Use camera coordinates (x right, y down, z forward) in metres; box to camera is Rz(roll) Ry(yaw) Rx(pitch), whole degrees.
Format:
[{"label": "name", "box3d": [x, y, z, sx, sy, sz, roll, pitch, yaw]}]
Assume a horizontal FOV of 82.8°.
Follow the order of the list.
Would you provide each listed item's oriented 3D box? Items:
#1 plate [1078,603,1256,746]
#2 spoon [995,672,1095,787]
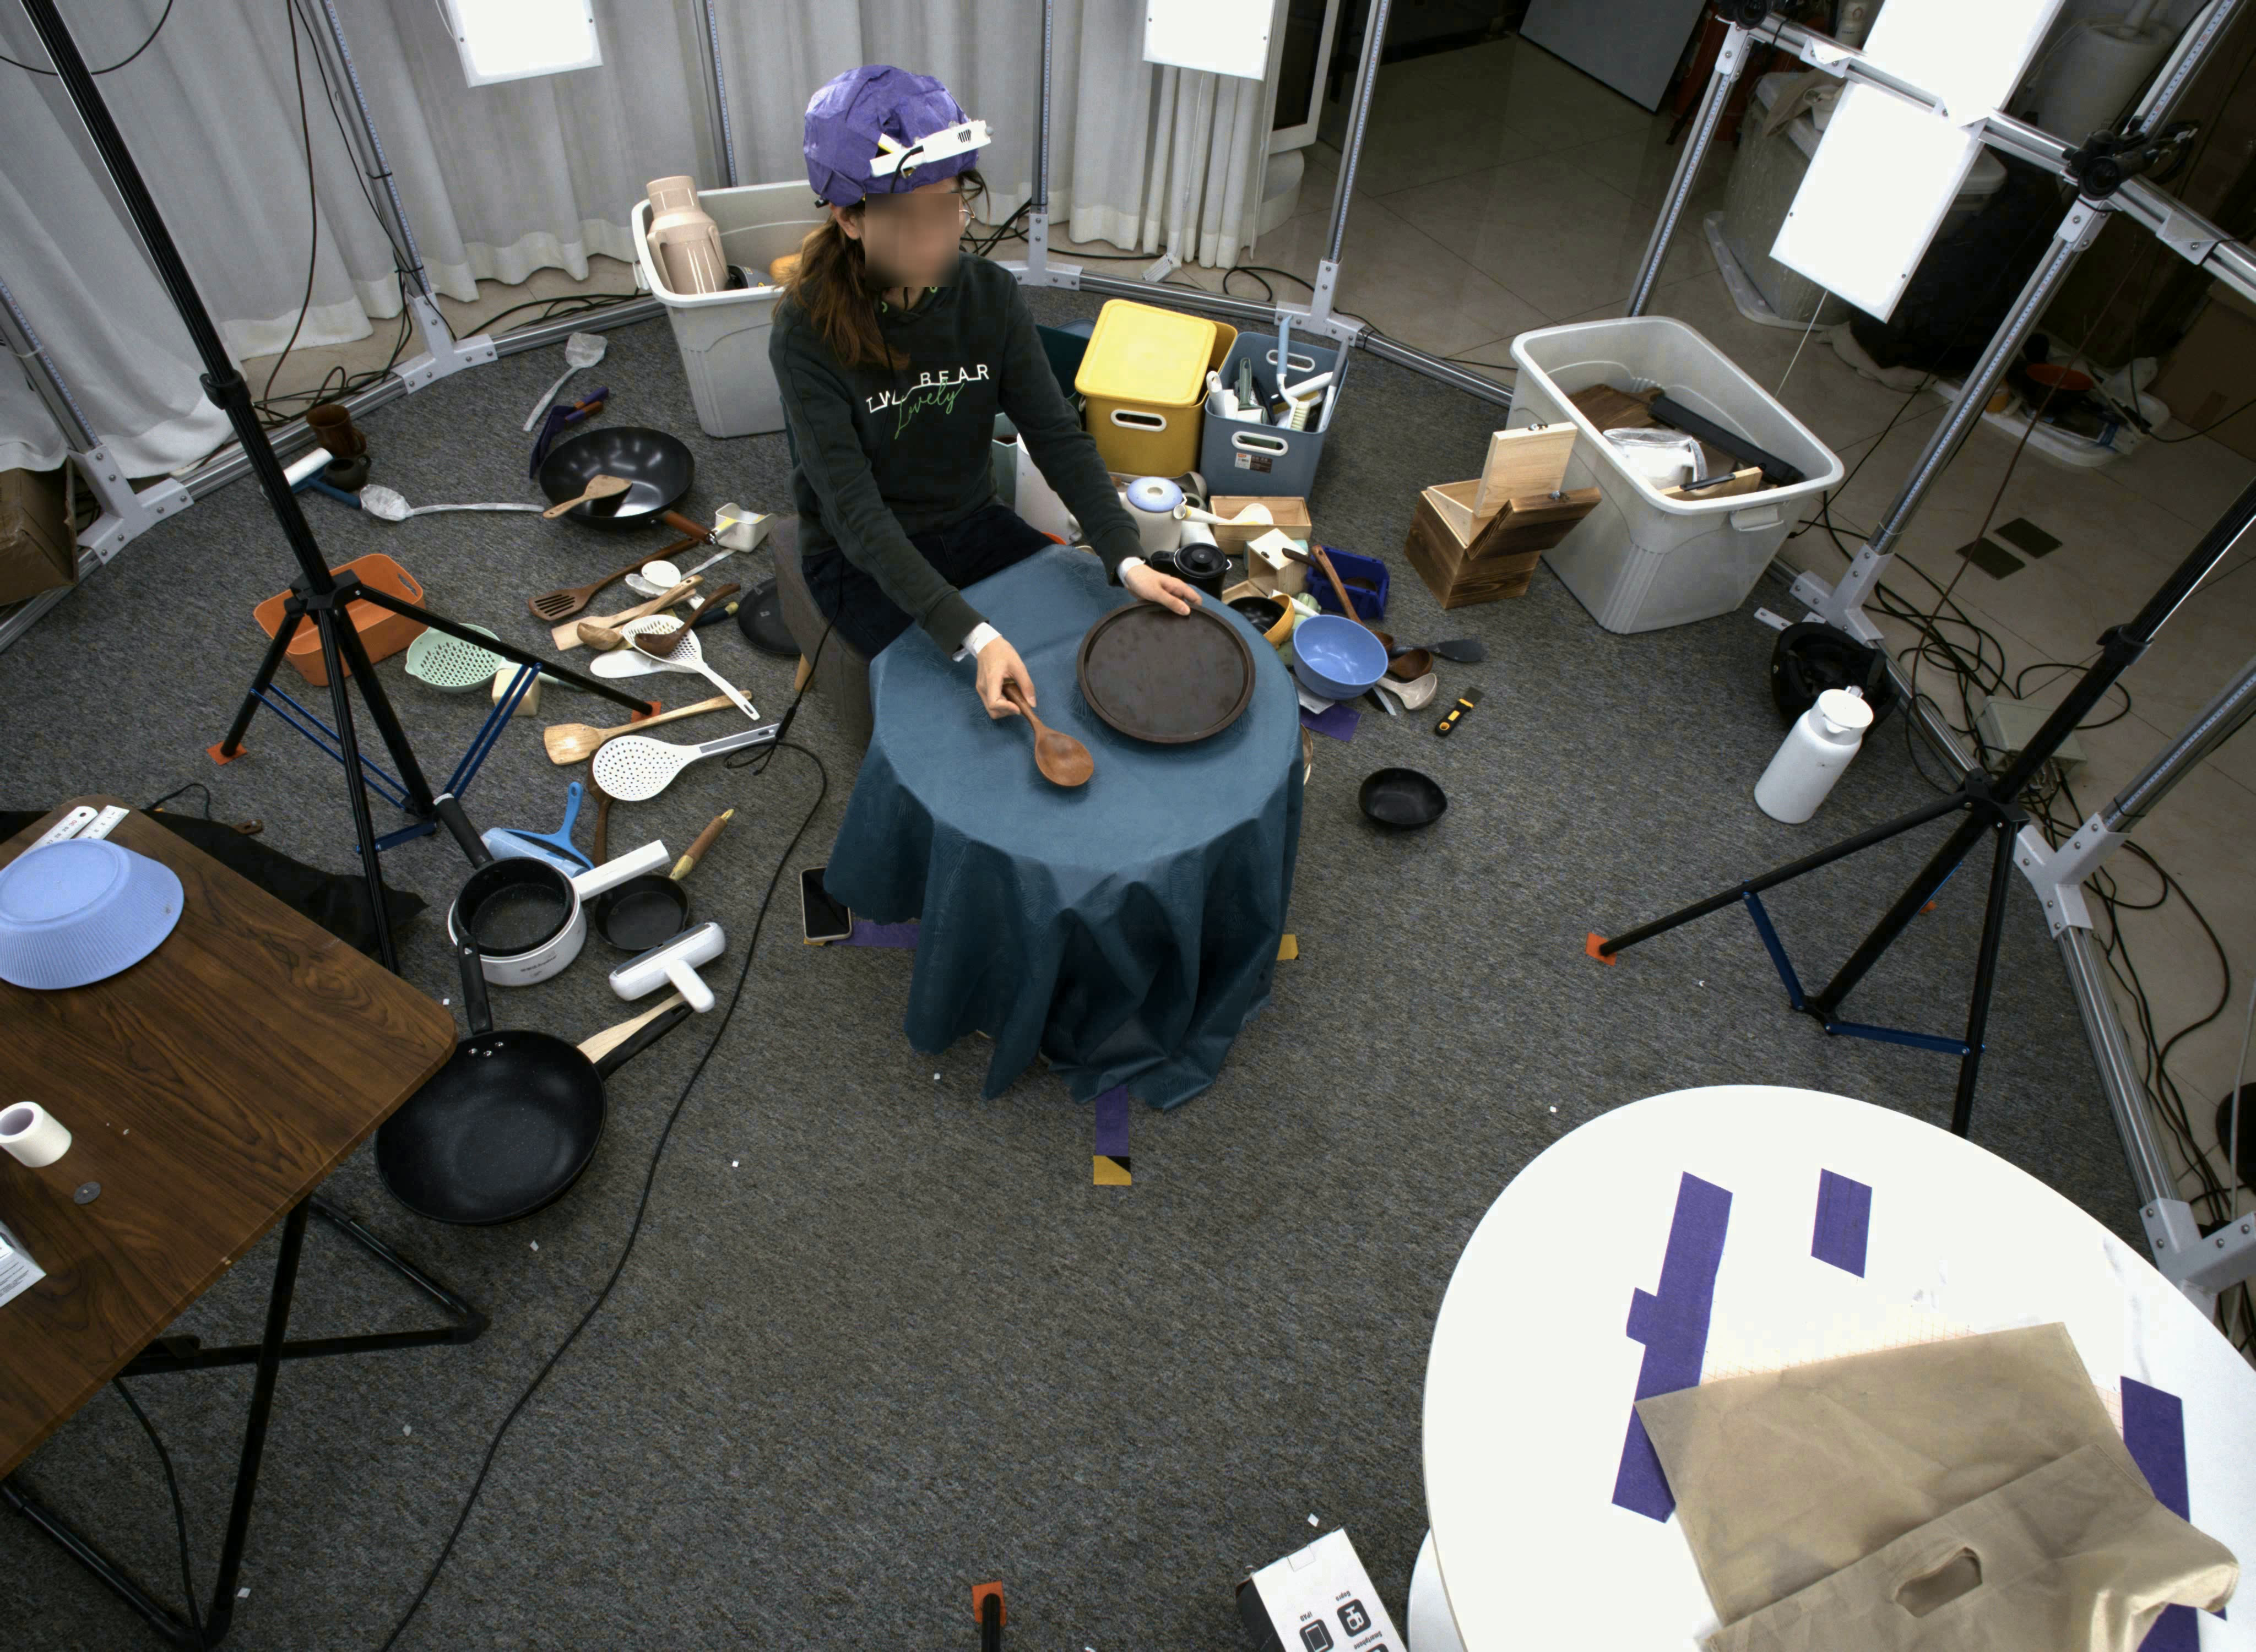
[{"label": "plate", "box3d": [0.055, -0.217, 1.827, 0.254, 0.028, 0.260, 2, 58, -3]}, {"label": "spoon", "box3d": [-0.120, -0.133, 1.751, 0.076, 0.017, 0.220, -25, 62, -22]}]
